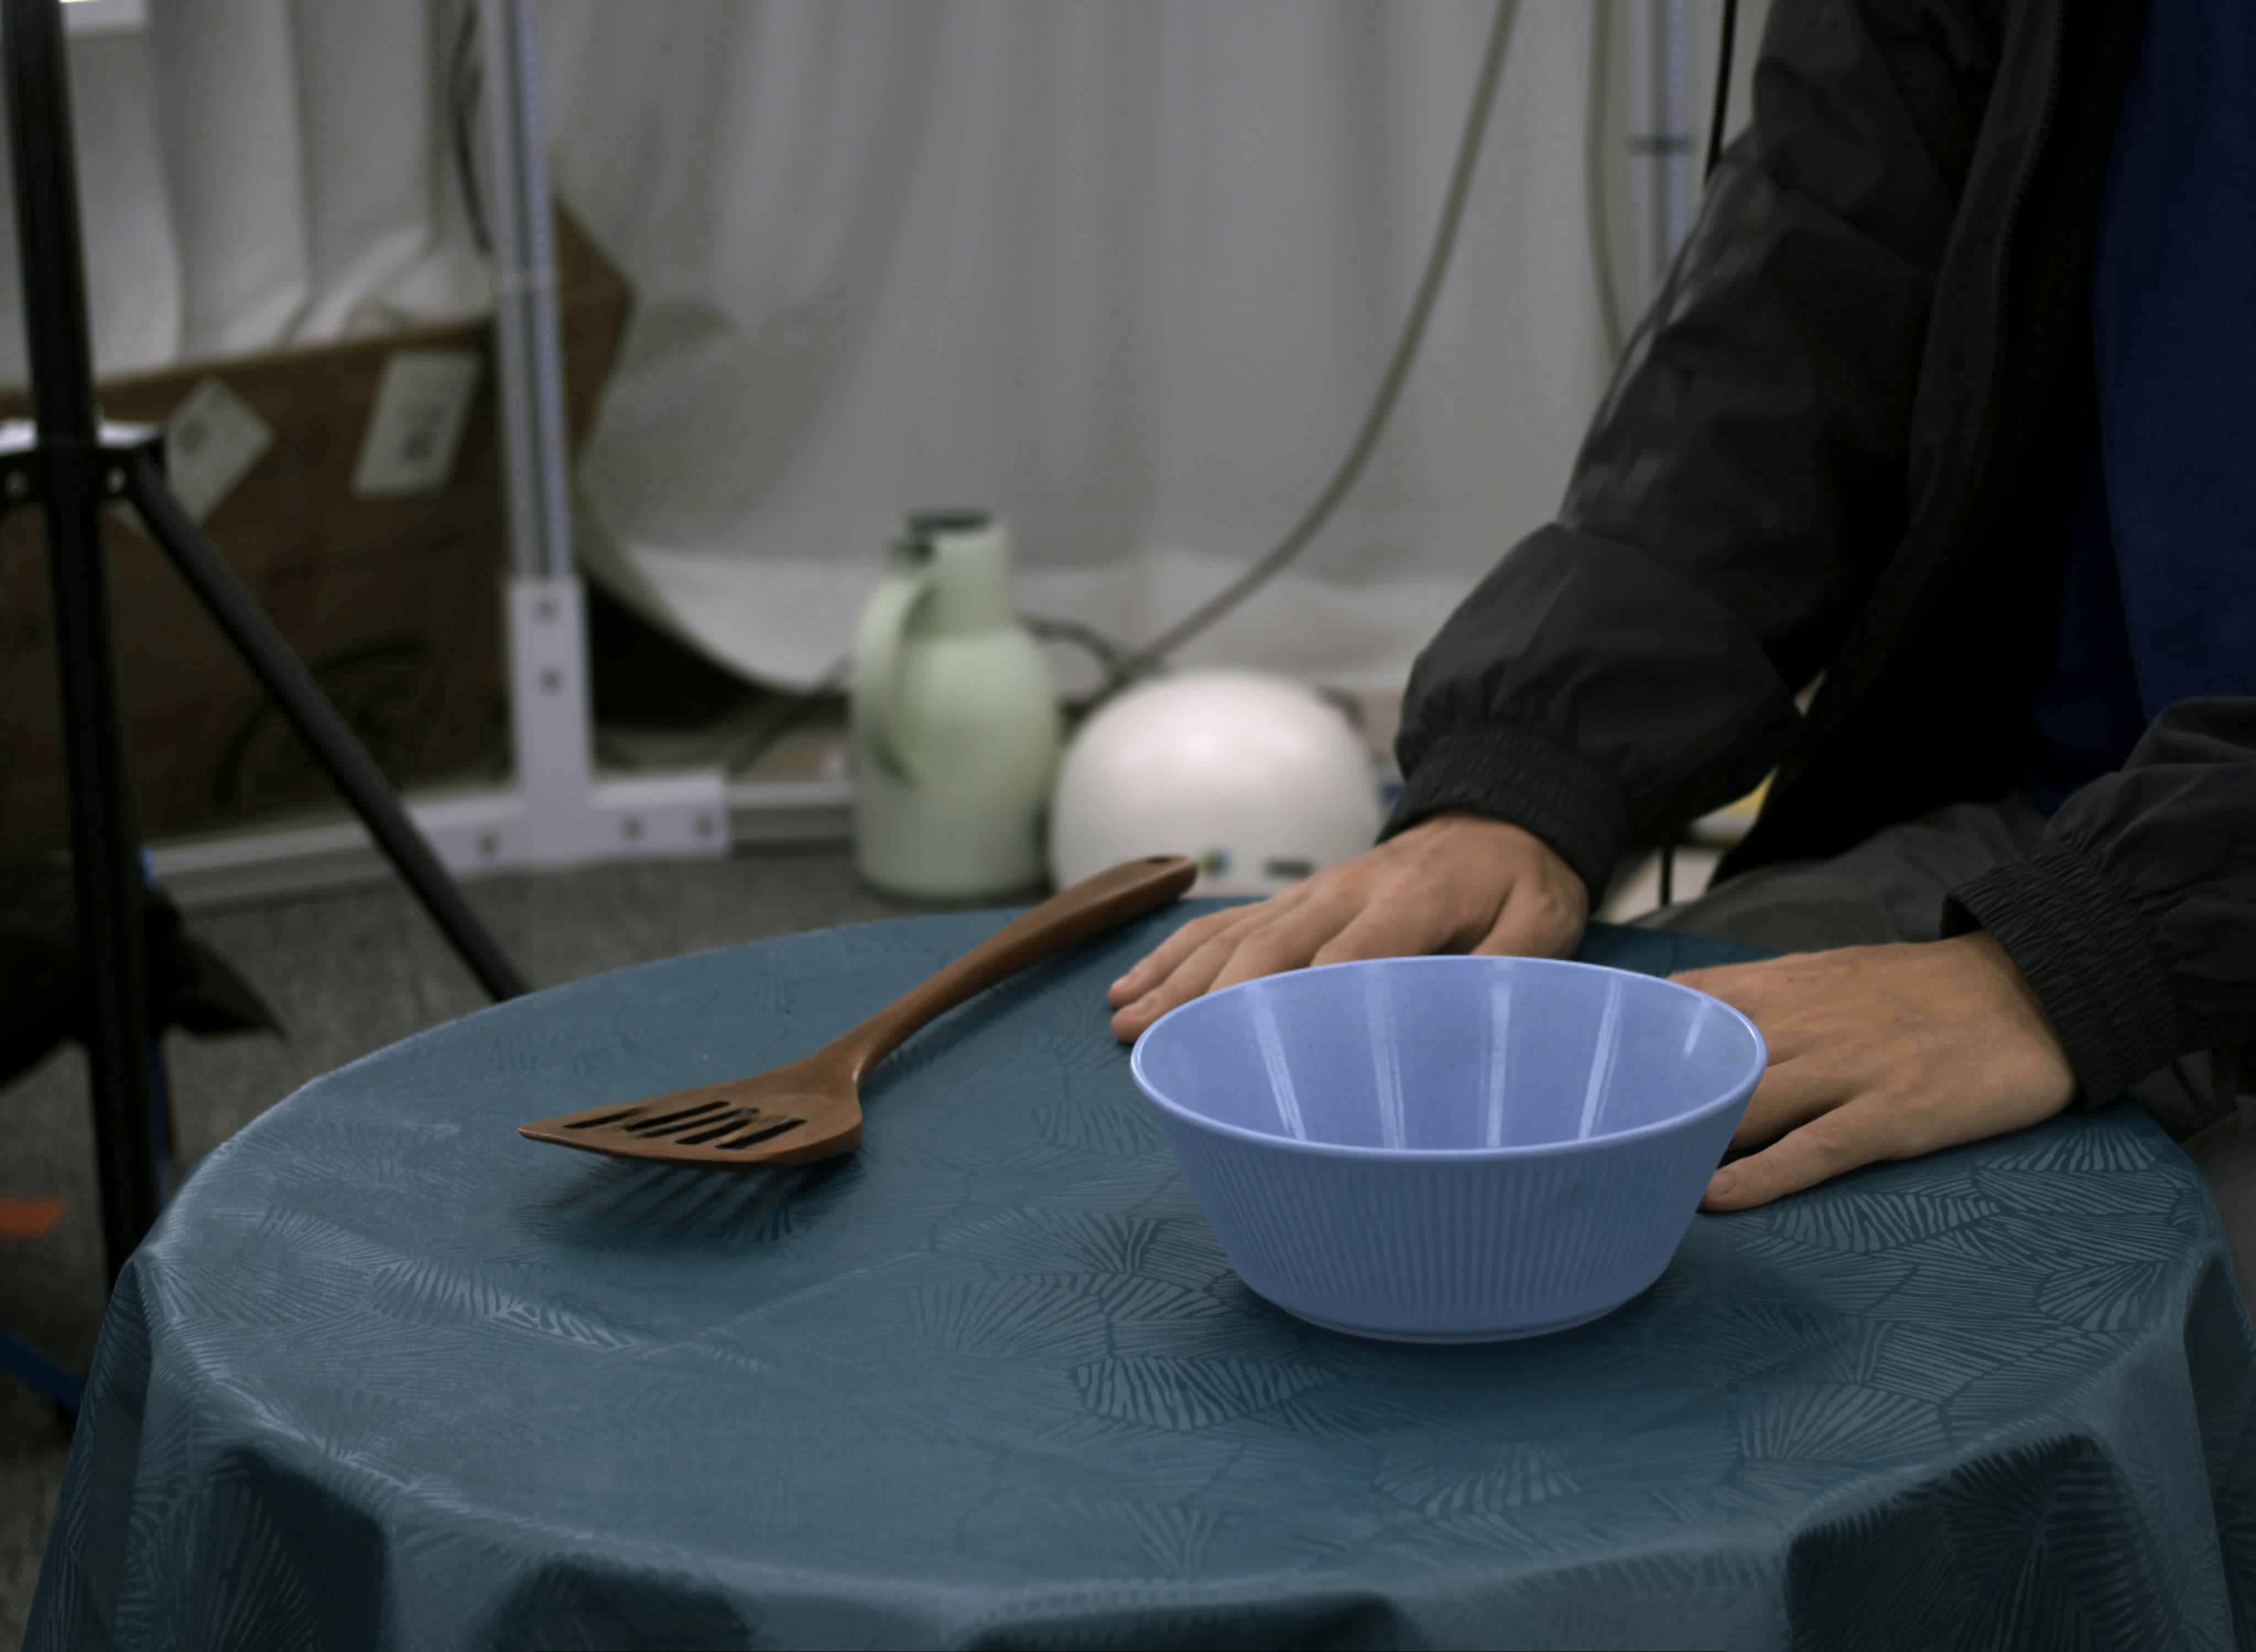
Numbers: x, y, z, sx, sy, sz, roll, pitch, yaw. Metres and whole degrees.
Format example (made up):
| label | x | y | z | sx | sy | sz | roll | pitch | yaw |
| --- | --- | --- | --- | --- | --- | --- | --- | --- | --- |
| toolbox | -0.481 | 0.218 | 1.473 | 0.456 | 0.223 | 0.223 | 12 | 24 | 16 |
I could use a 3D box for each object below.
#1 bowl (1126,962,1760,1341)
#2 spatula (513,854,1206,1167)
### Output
| label | x | y | z | sx | sy | sz | roll | pitch | yaw |
| --- | --- | --- | --- | --- | --- | --- | --- | --- | --- |
| bowl | 0.087 | 0.093 | 1.470 | 0.175 | 0.070 | 0.177 | -2 | 15 | -1 |
| spatula | -0.065 | 0.059 | 1.705 | 0.087 | 0.024 | 0.380 | 6 | 16 | 26 |
